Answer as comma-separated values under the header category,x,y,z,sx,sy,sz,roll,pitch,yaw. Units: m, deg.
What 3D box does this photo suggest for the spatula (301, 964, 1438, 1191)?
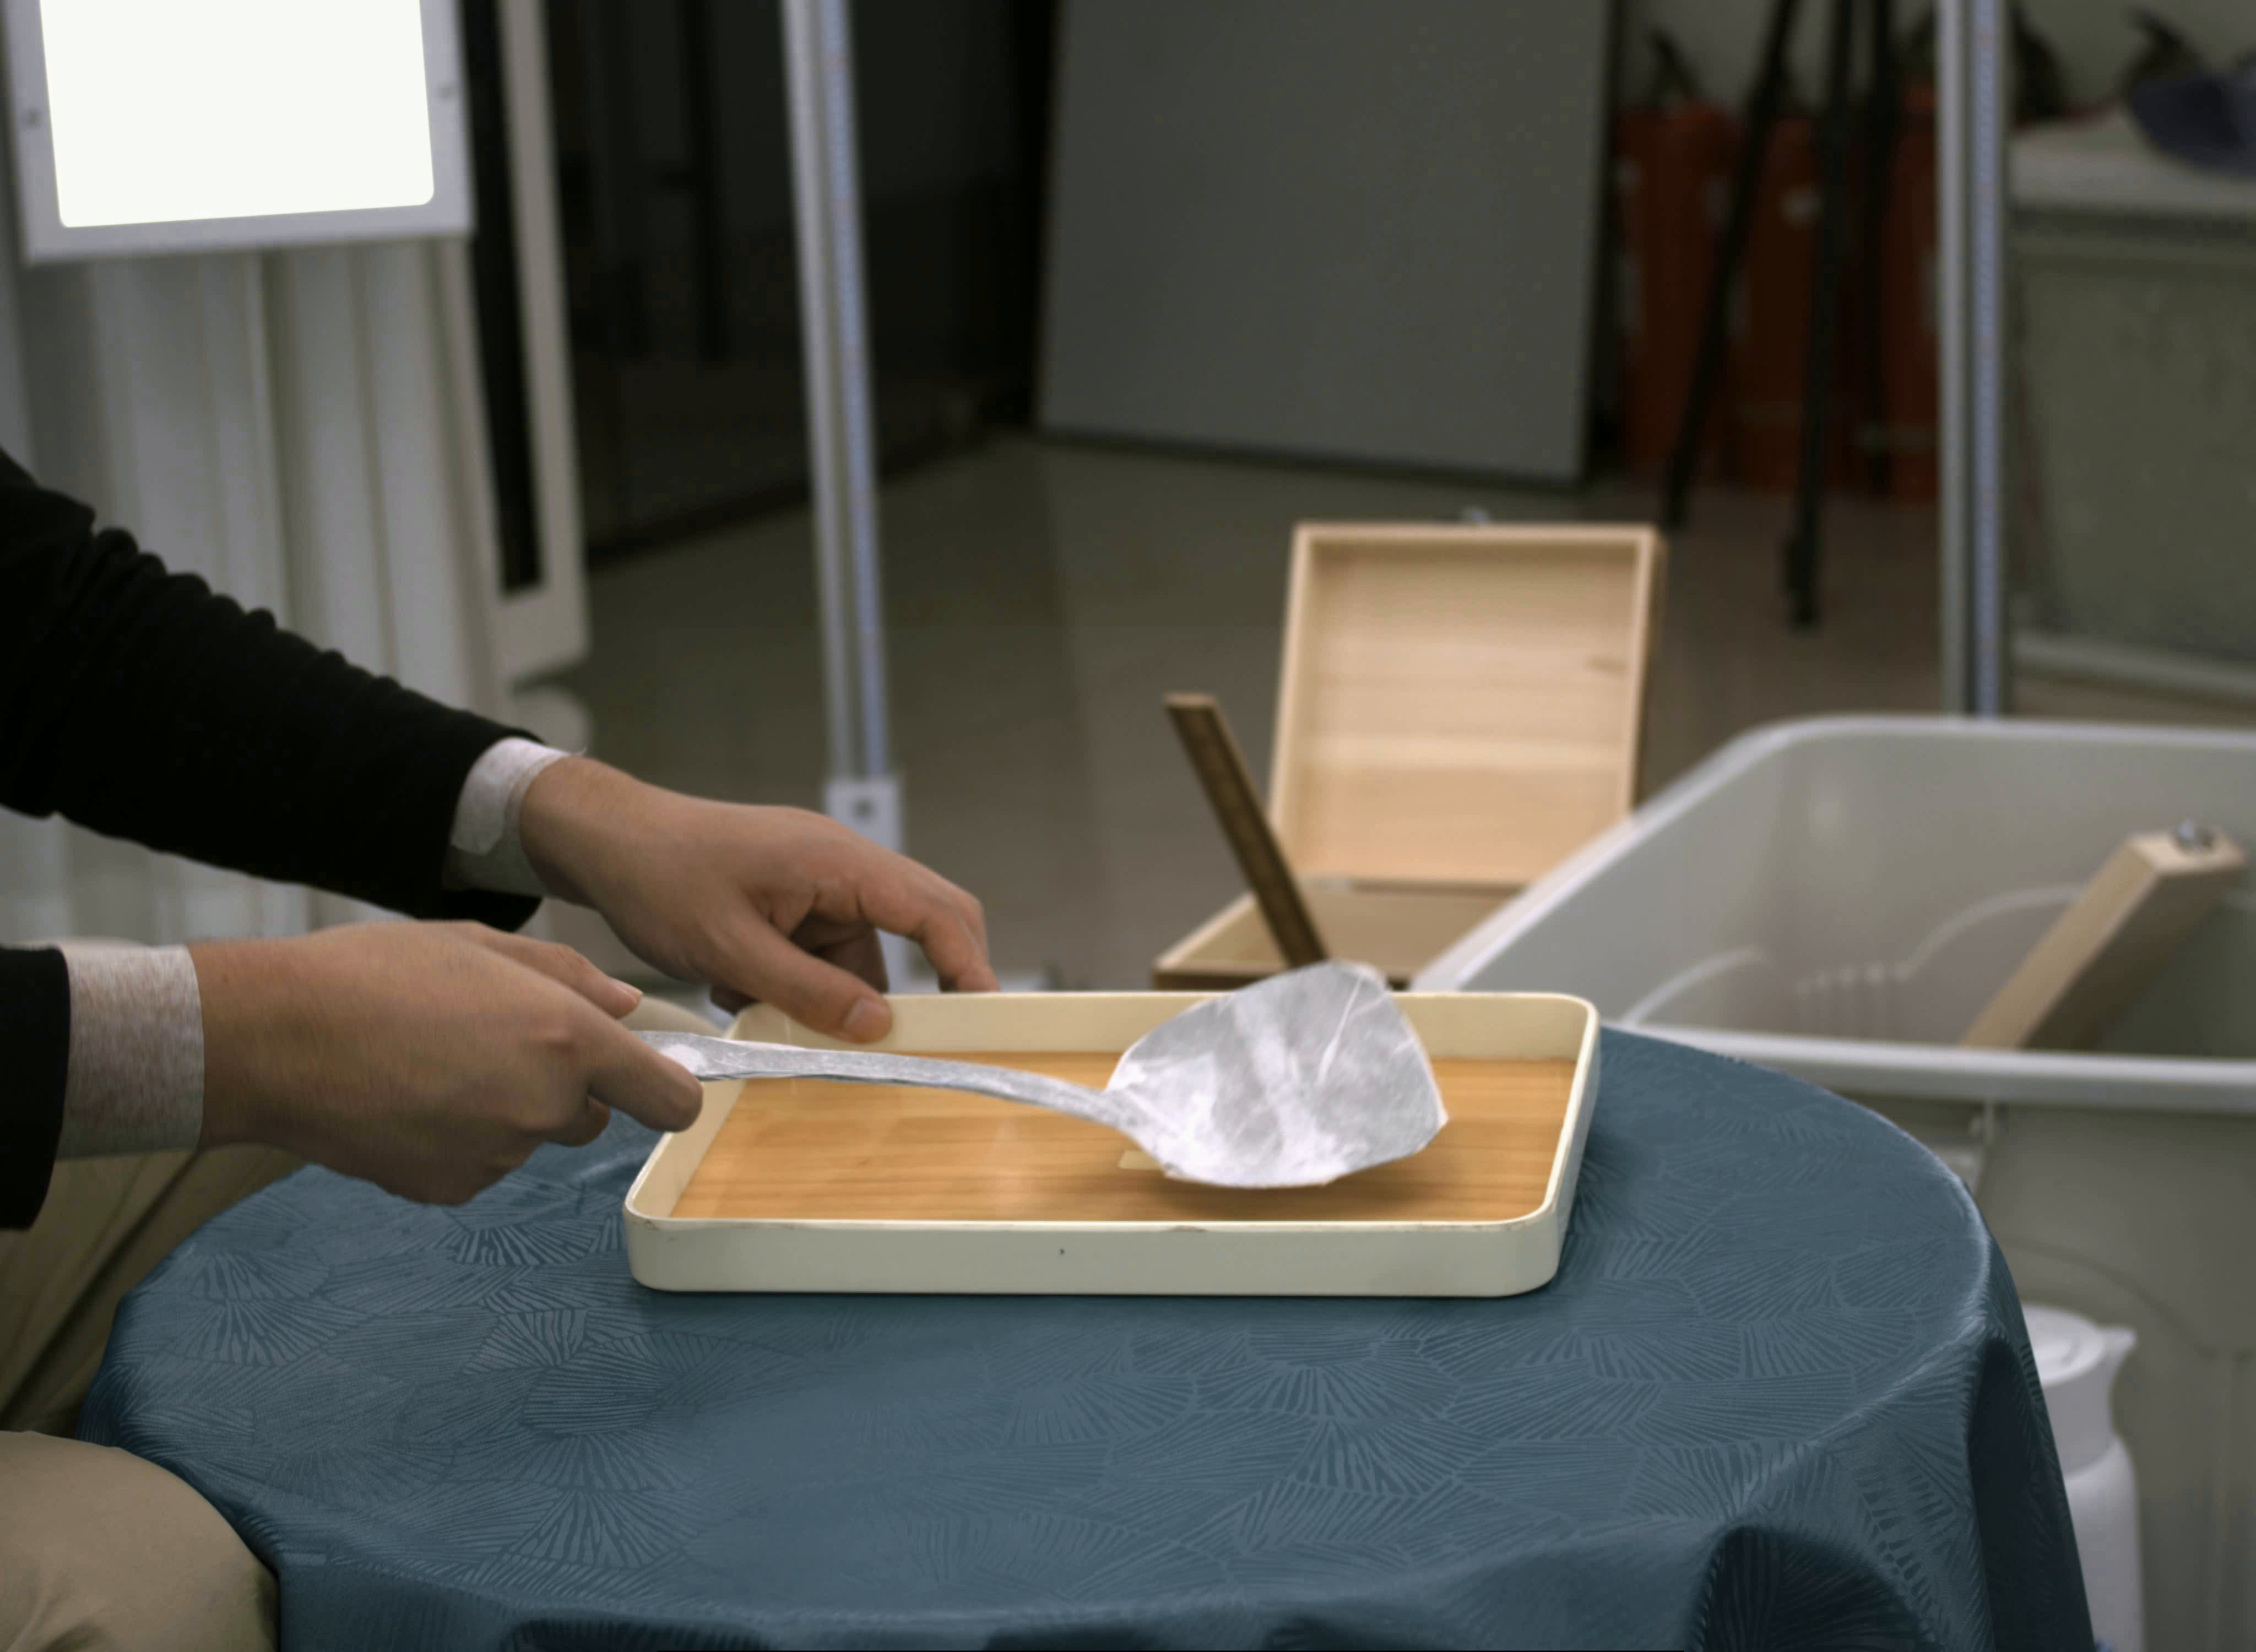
category,x,y,z,sx,sy,sz,roll,pitch,yaw
spatula,-0.076,0.072,1.684,0.357,0.045,0.100,6,35,-21

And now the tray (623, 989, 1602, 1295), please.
category,x,y,z,sx,sy,sz,roll,pitch,yaw
tray,0.000,0.102,1.751,0.298,0.027,0.191,-1,20,13
